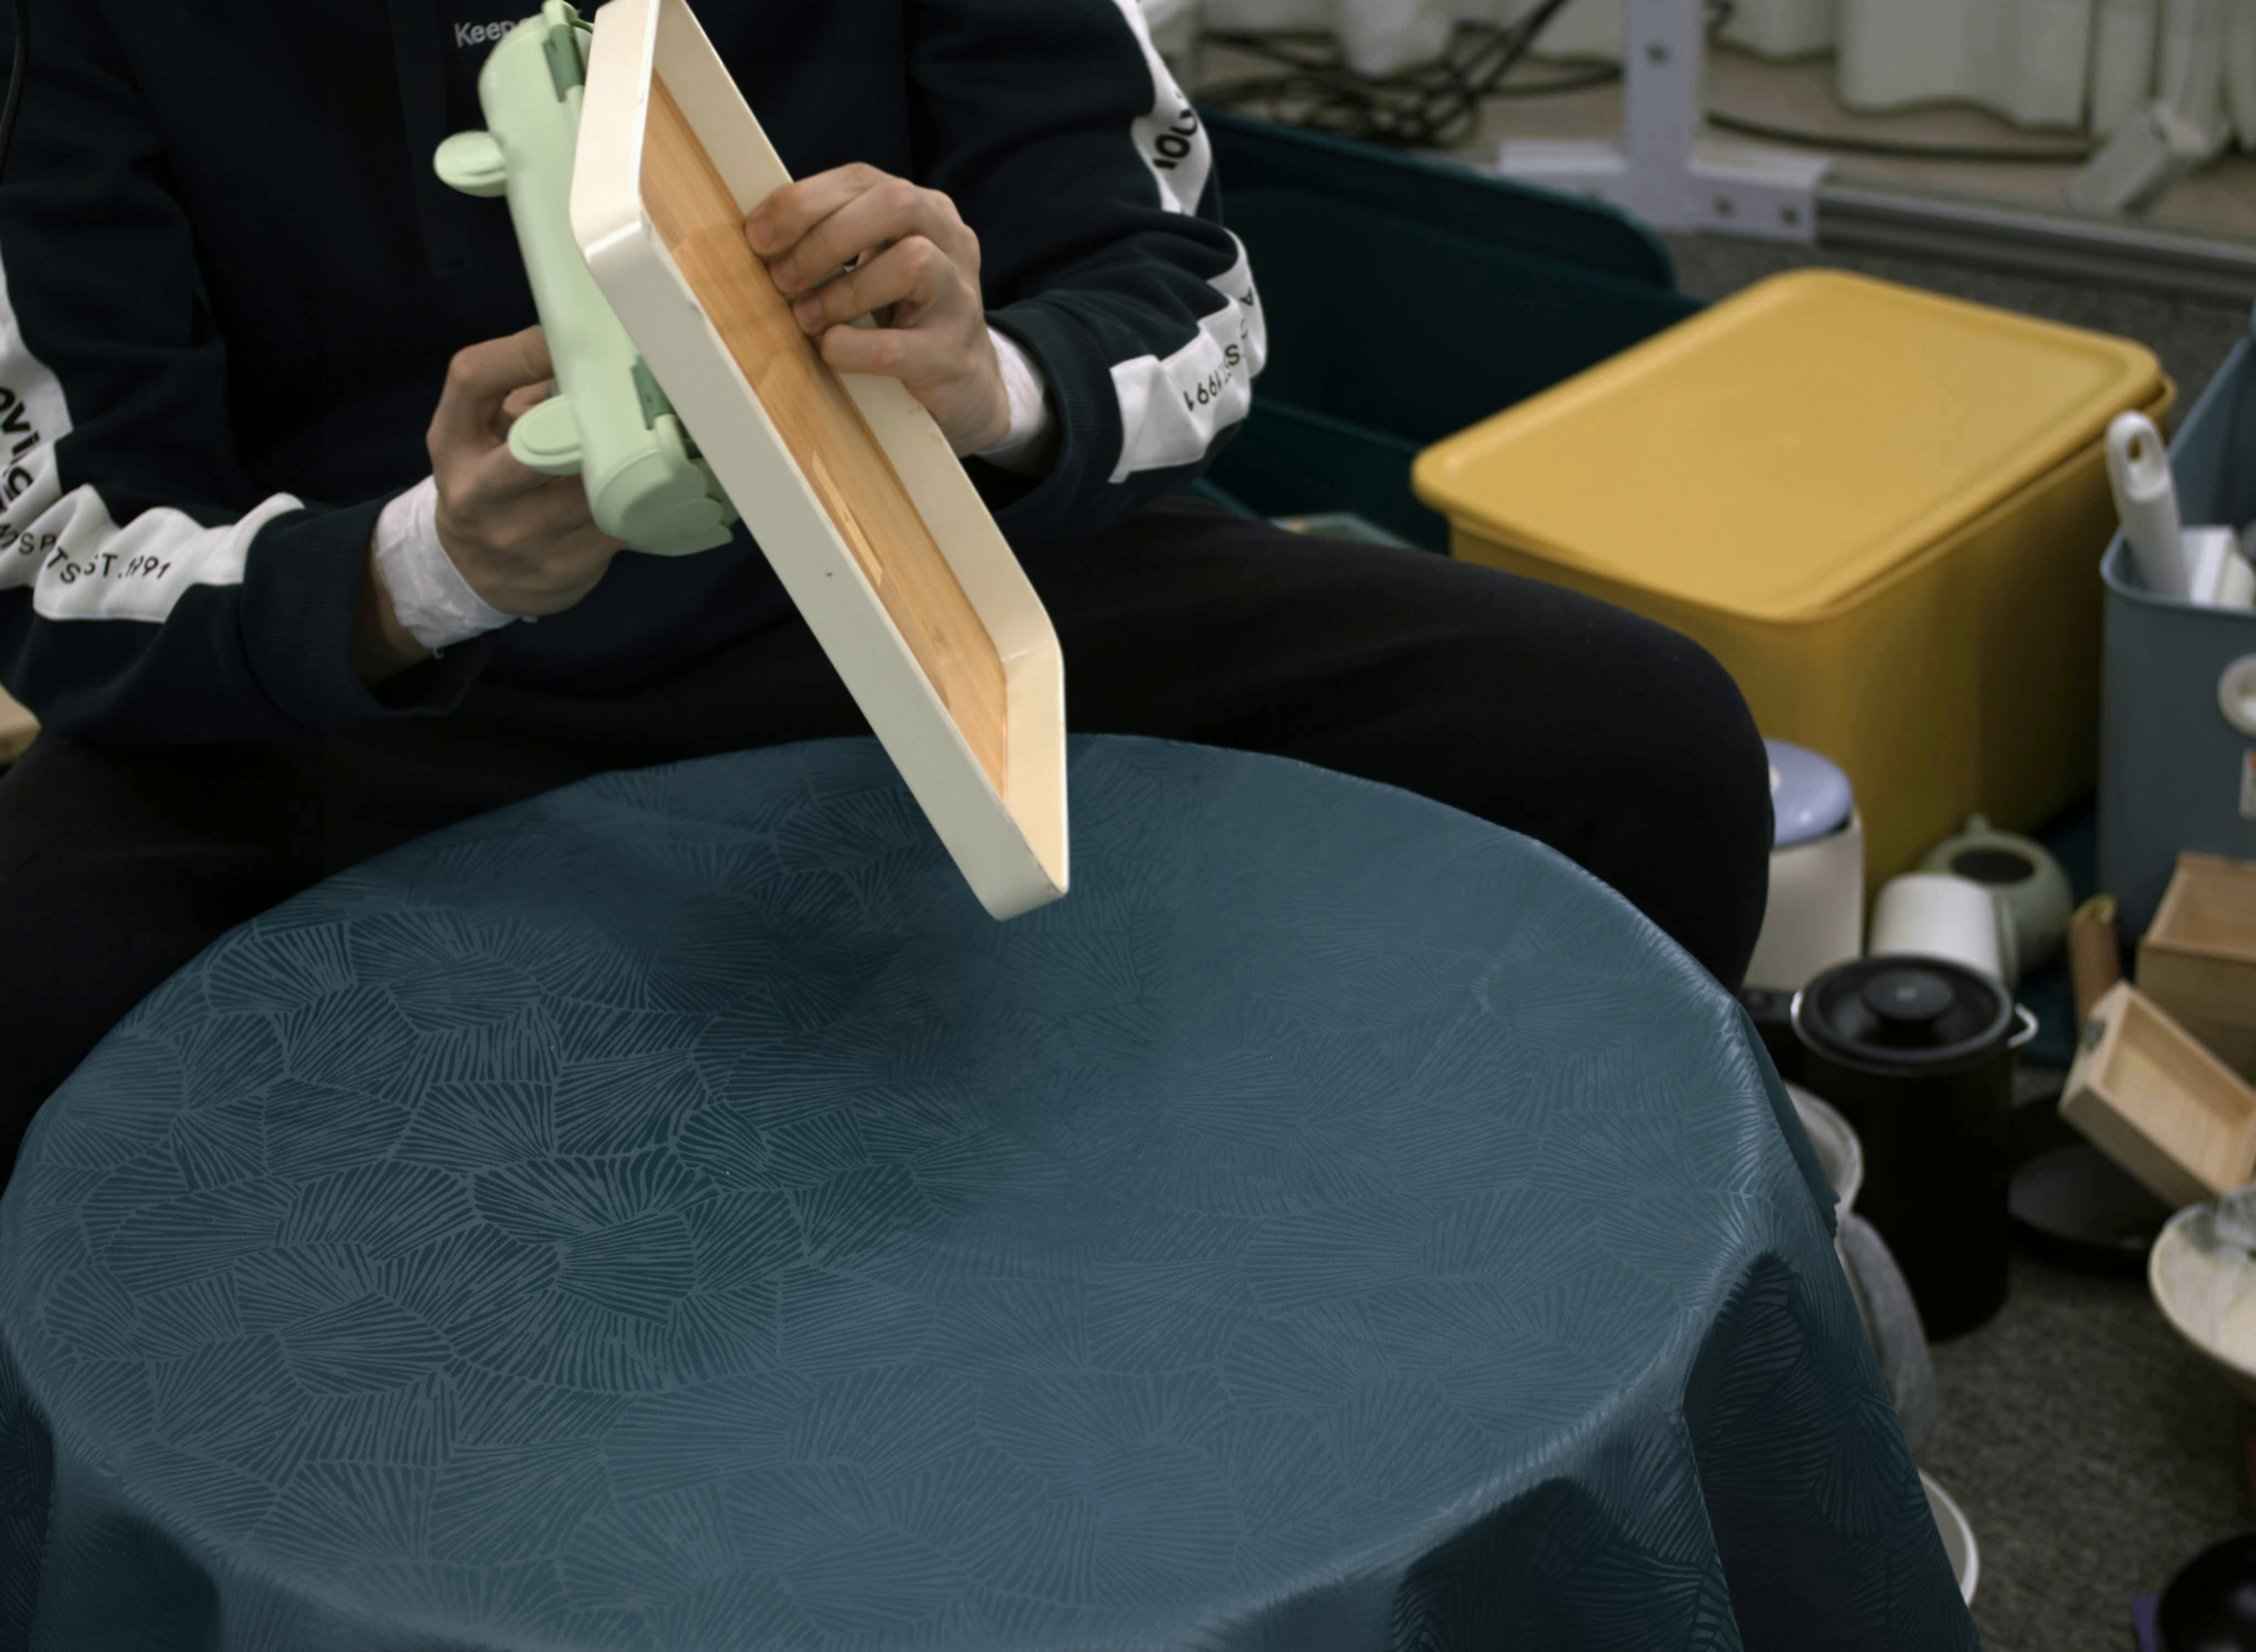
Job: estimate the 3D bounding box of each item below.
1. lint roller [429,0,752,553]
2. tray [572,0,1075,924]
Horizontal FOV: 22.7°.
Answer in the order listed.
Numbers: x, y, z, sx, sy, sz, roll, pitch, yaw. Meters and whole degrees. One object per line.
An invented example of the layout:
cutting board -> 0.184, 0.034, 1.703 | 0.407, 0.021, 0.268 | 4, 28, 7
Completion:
lint roller -> -0.195, -0.155, 1.925 | 0.082, 0.180, 0.201 | -5, 59, -23
tray -> -0.099, -0.126, 1.897 | 0.027, 0.298, 0.194 | -24, 27, 12
